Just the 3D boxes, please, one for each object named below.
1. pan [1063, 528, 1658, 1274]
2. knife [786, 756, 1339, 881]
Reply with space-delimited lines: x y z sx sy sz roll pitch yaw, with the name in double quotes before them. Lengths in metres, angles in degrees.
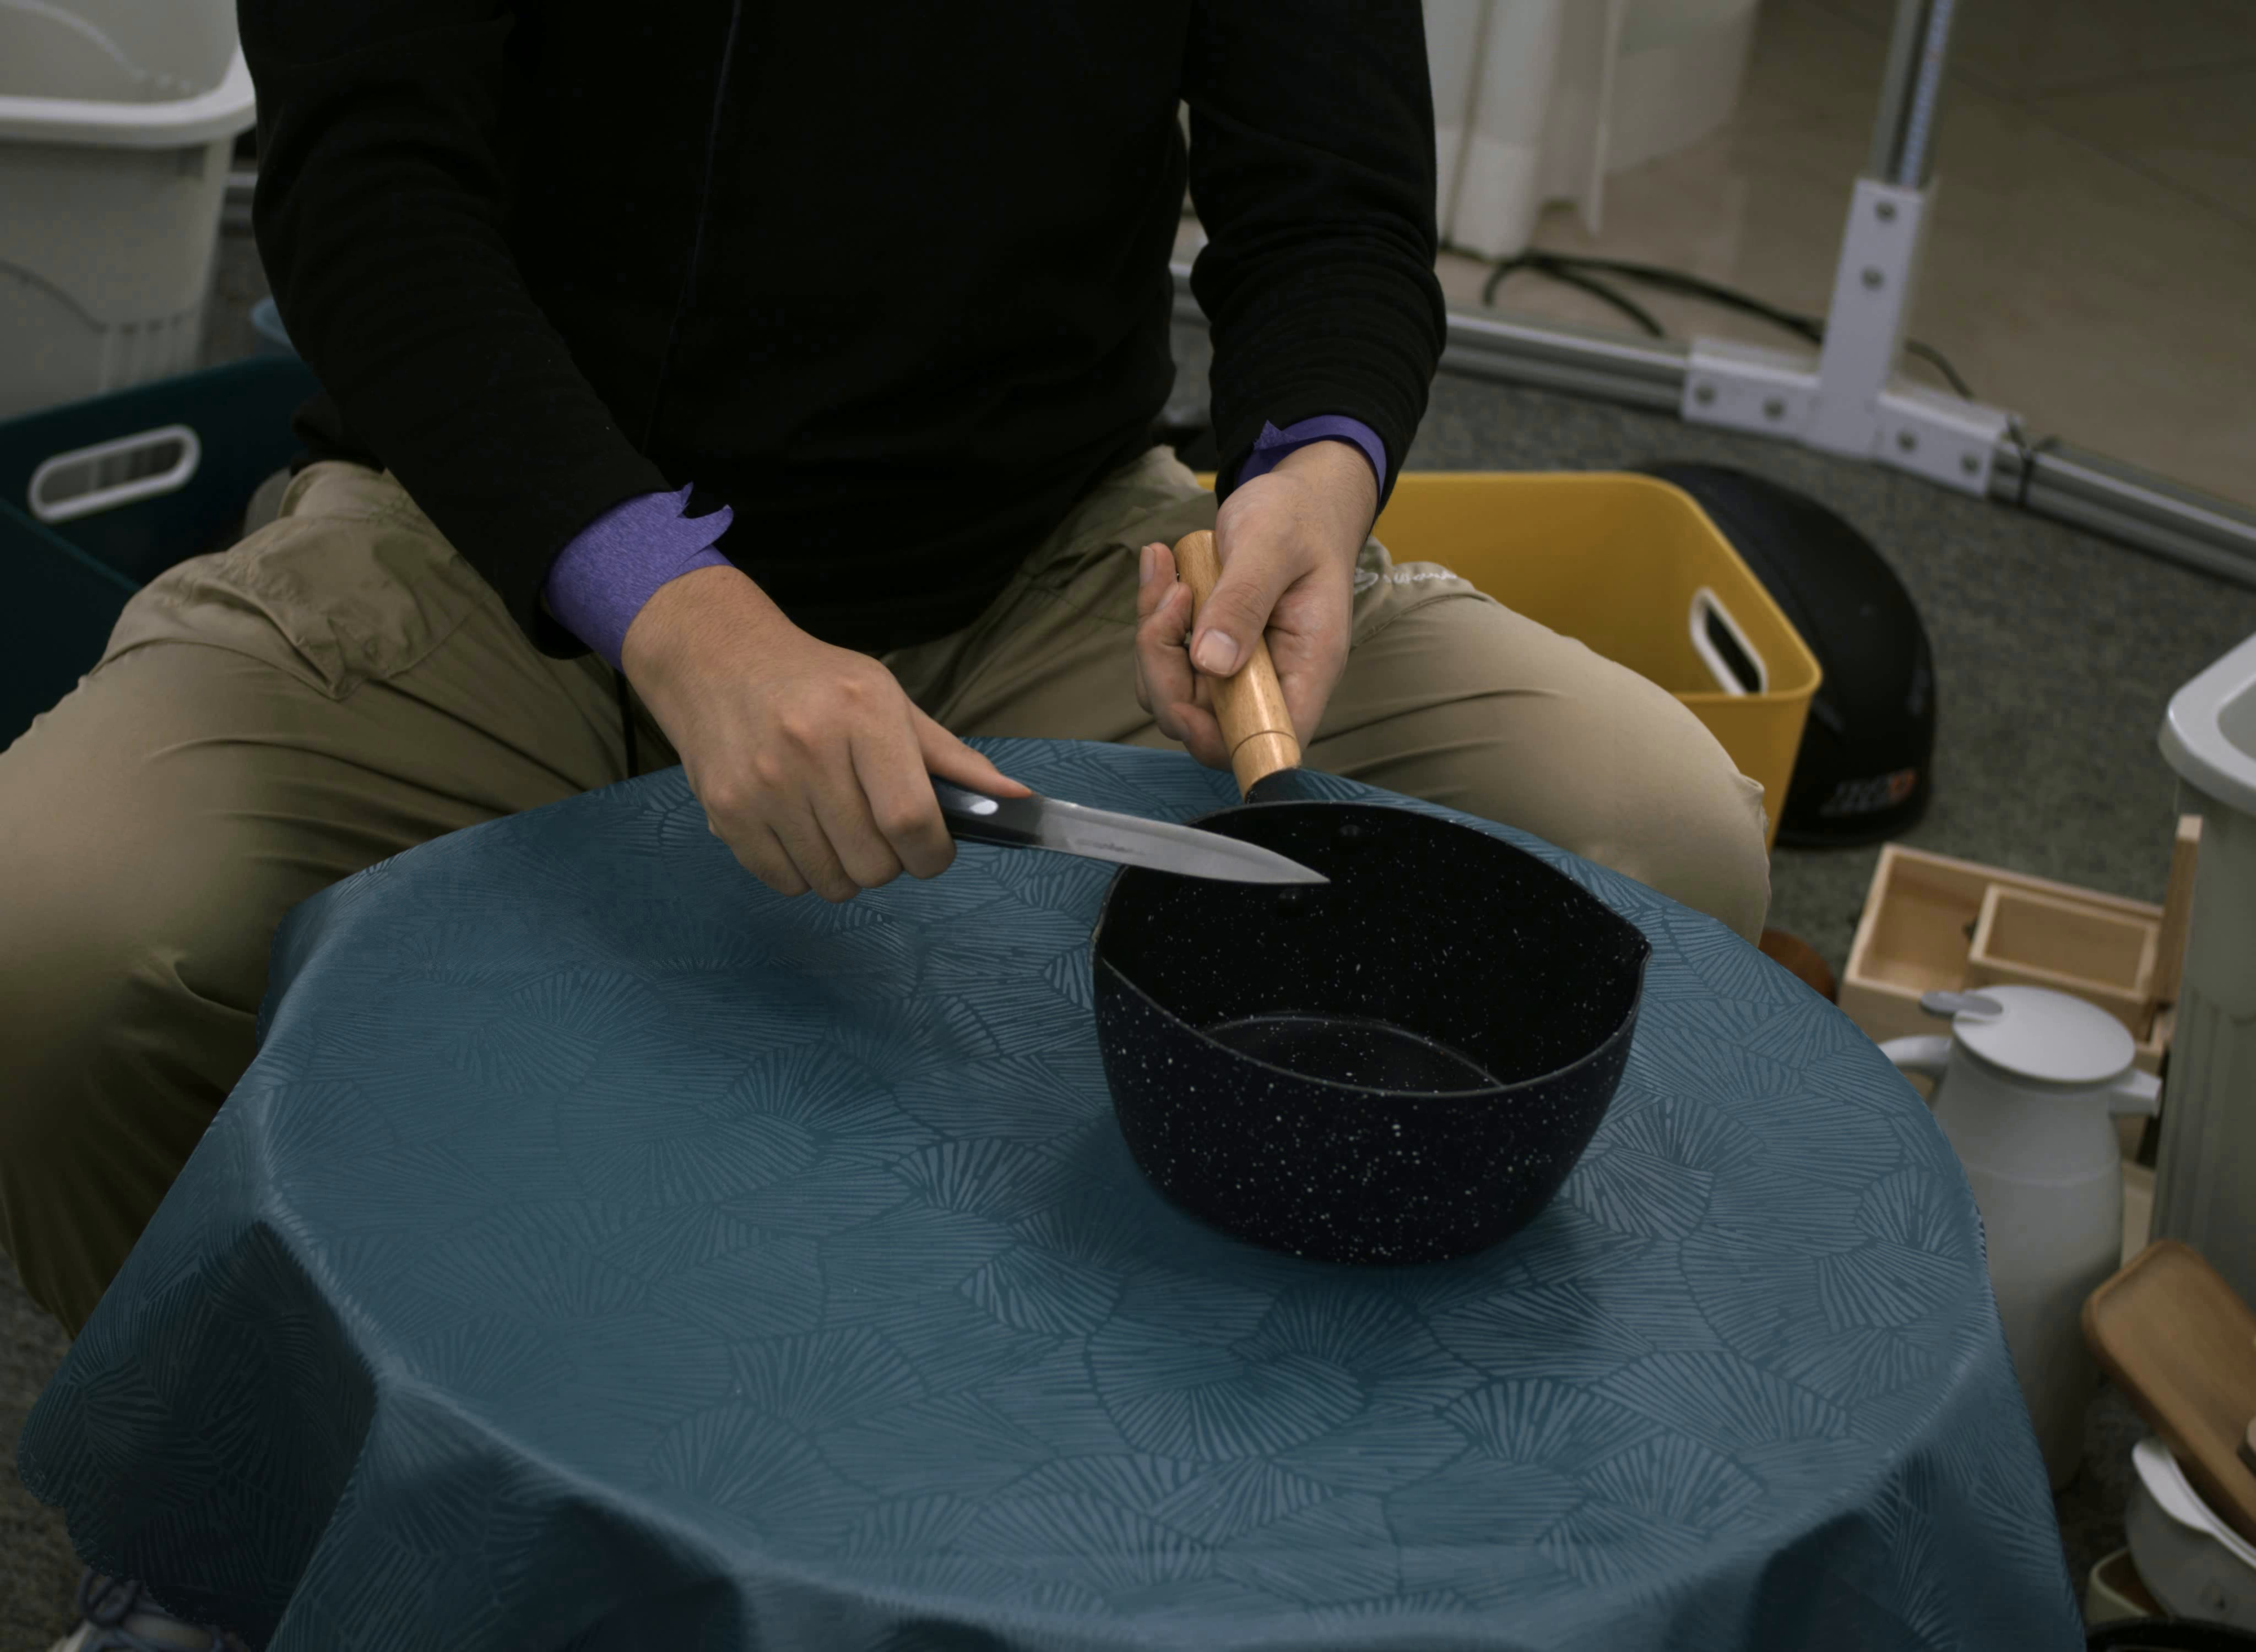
"pan" 0.059 0.023 1.877 0.206 0.108 0.346 -2 33 -15
"knife" -0.027 0.001 1.841 0.239 0.016 0.024 10 49 36
